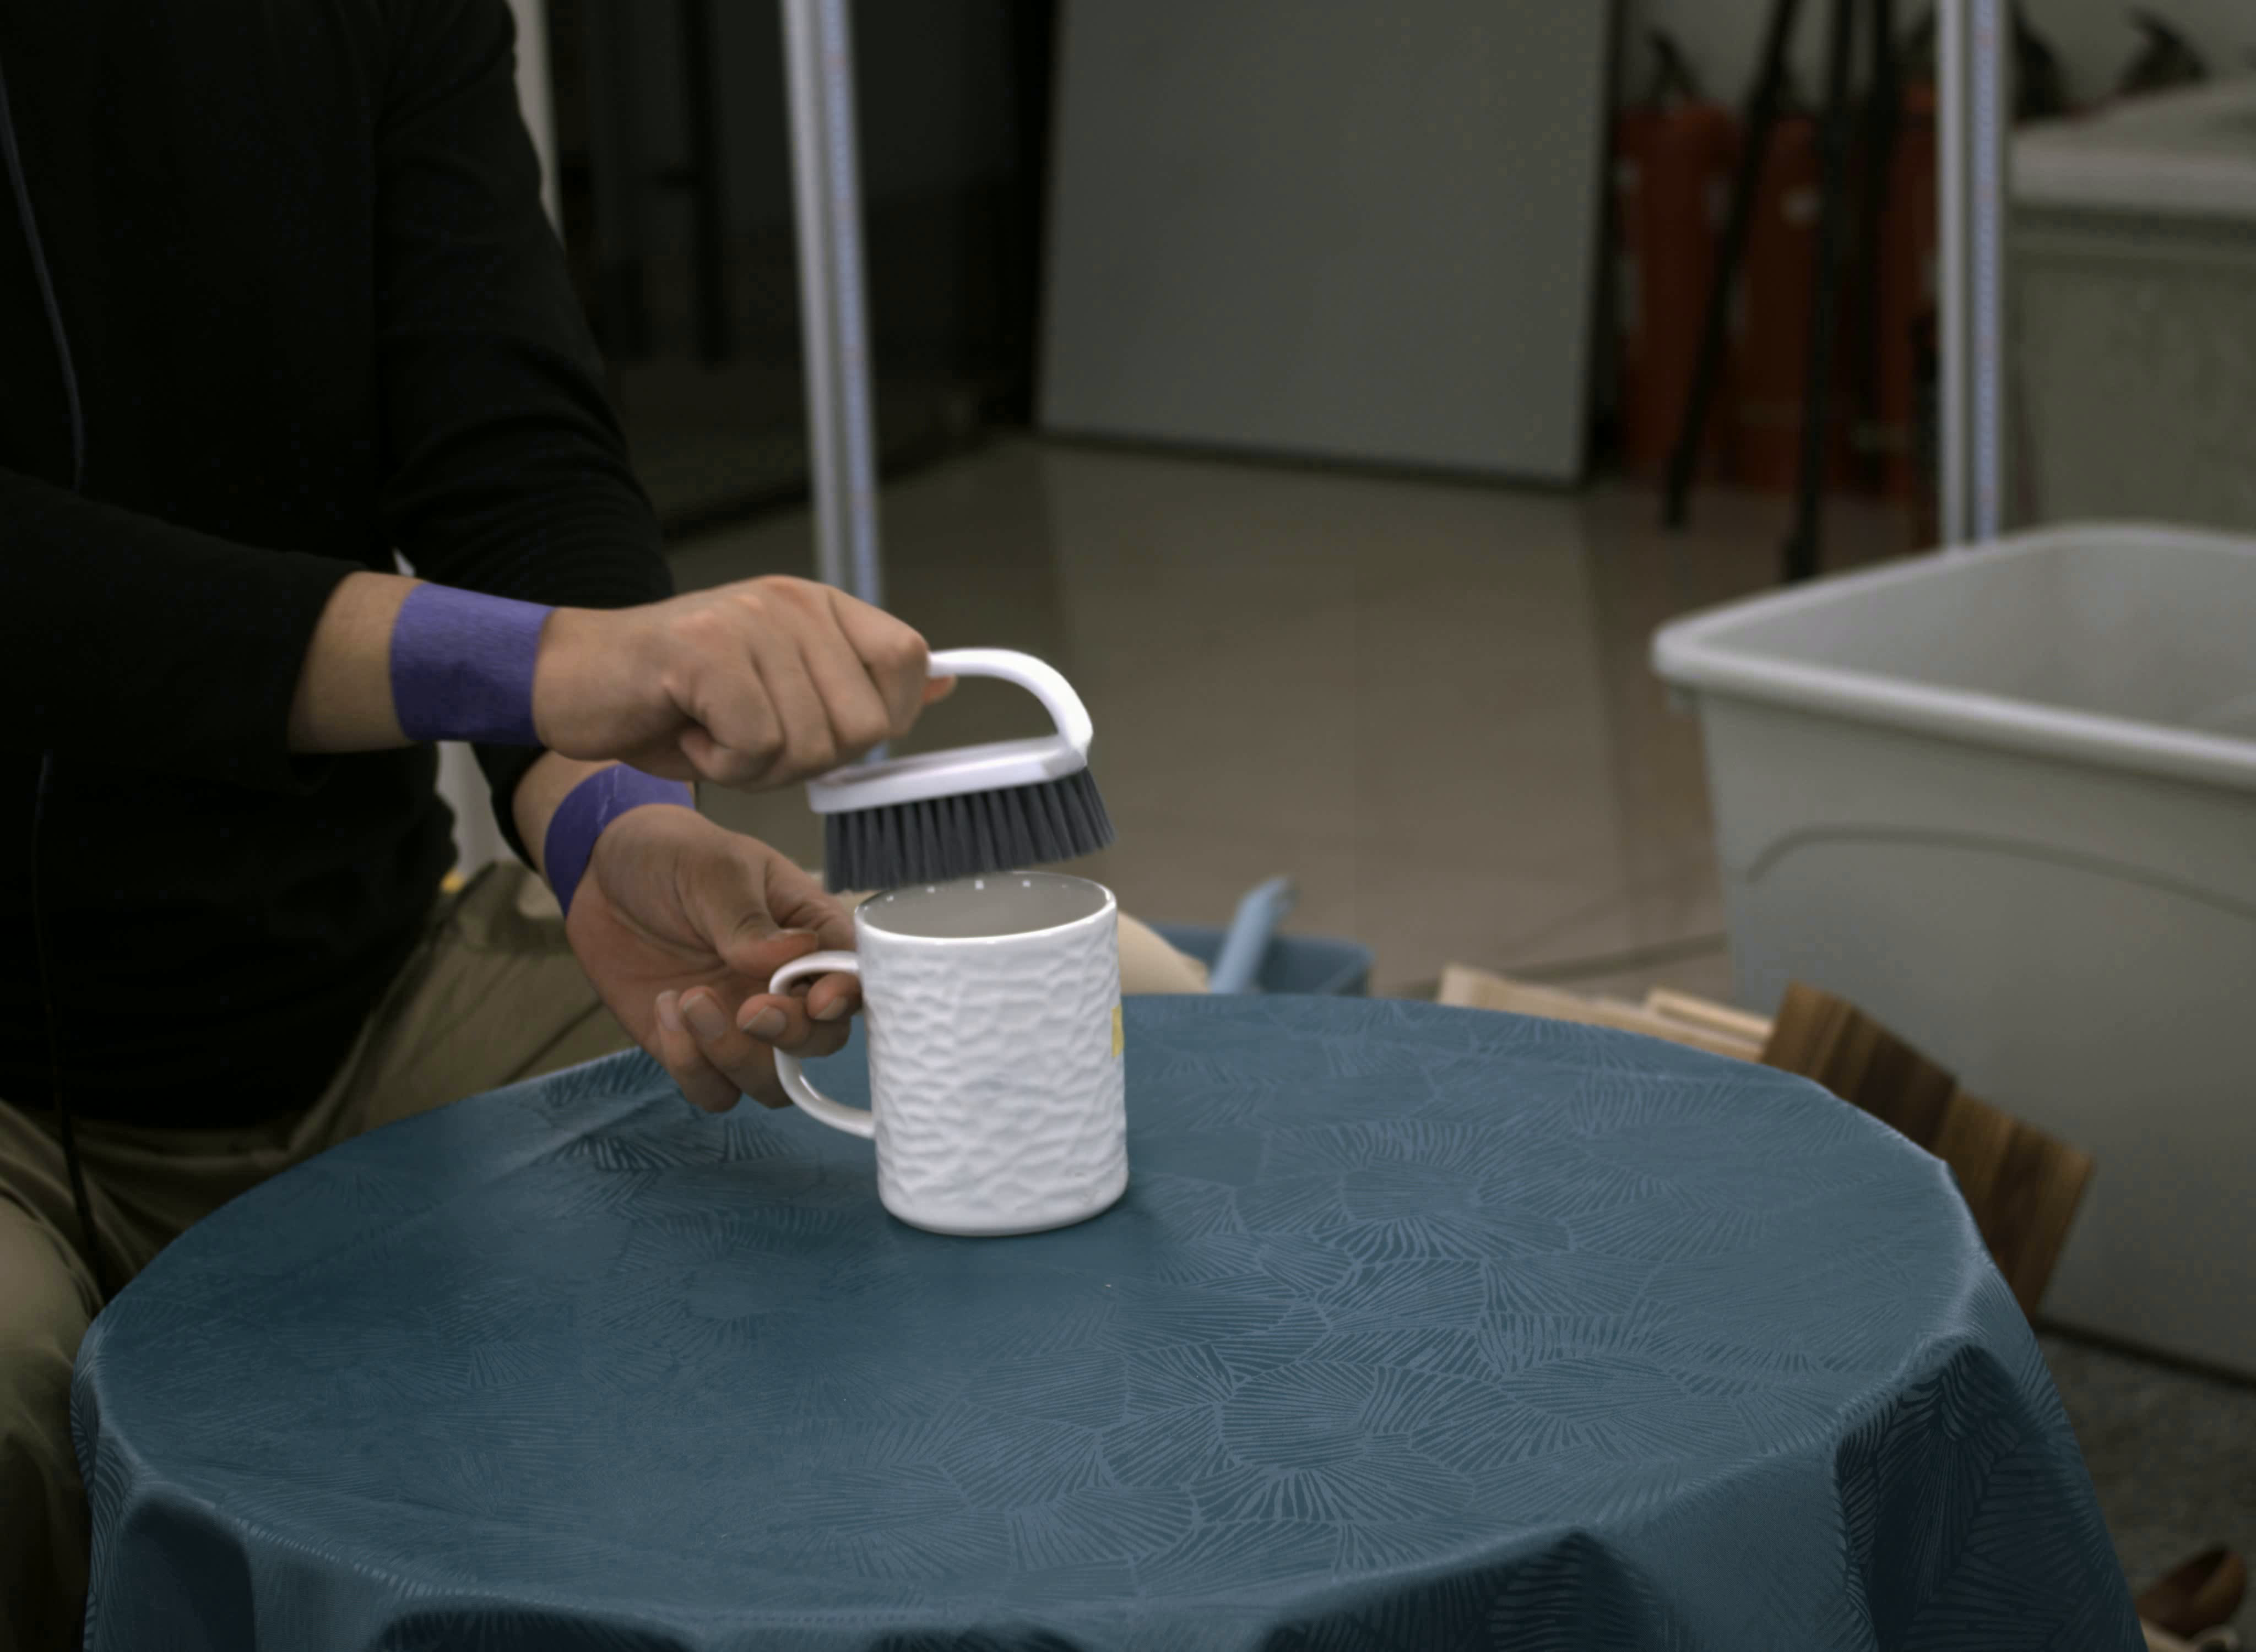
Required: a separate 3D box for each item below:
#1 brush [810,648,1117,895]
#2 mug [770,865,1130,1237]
[{"bbox_3d":[-0.056,-0.021,1.760,0.099,0.073,0.050,-8,5,15],"label":"brush"},{"bbox_3d":[-0.058,0.073,1.760,0.117,0.103,0.084,-1,14,13],"label":"mug"}]
